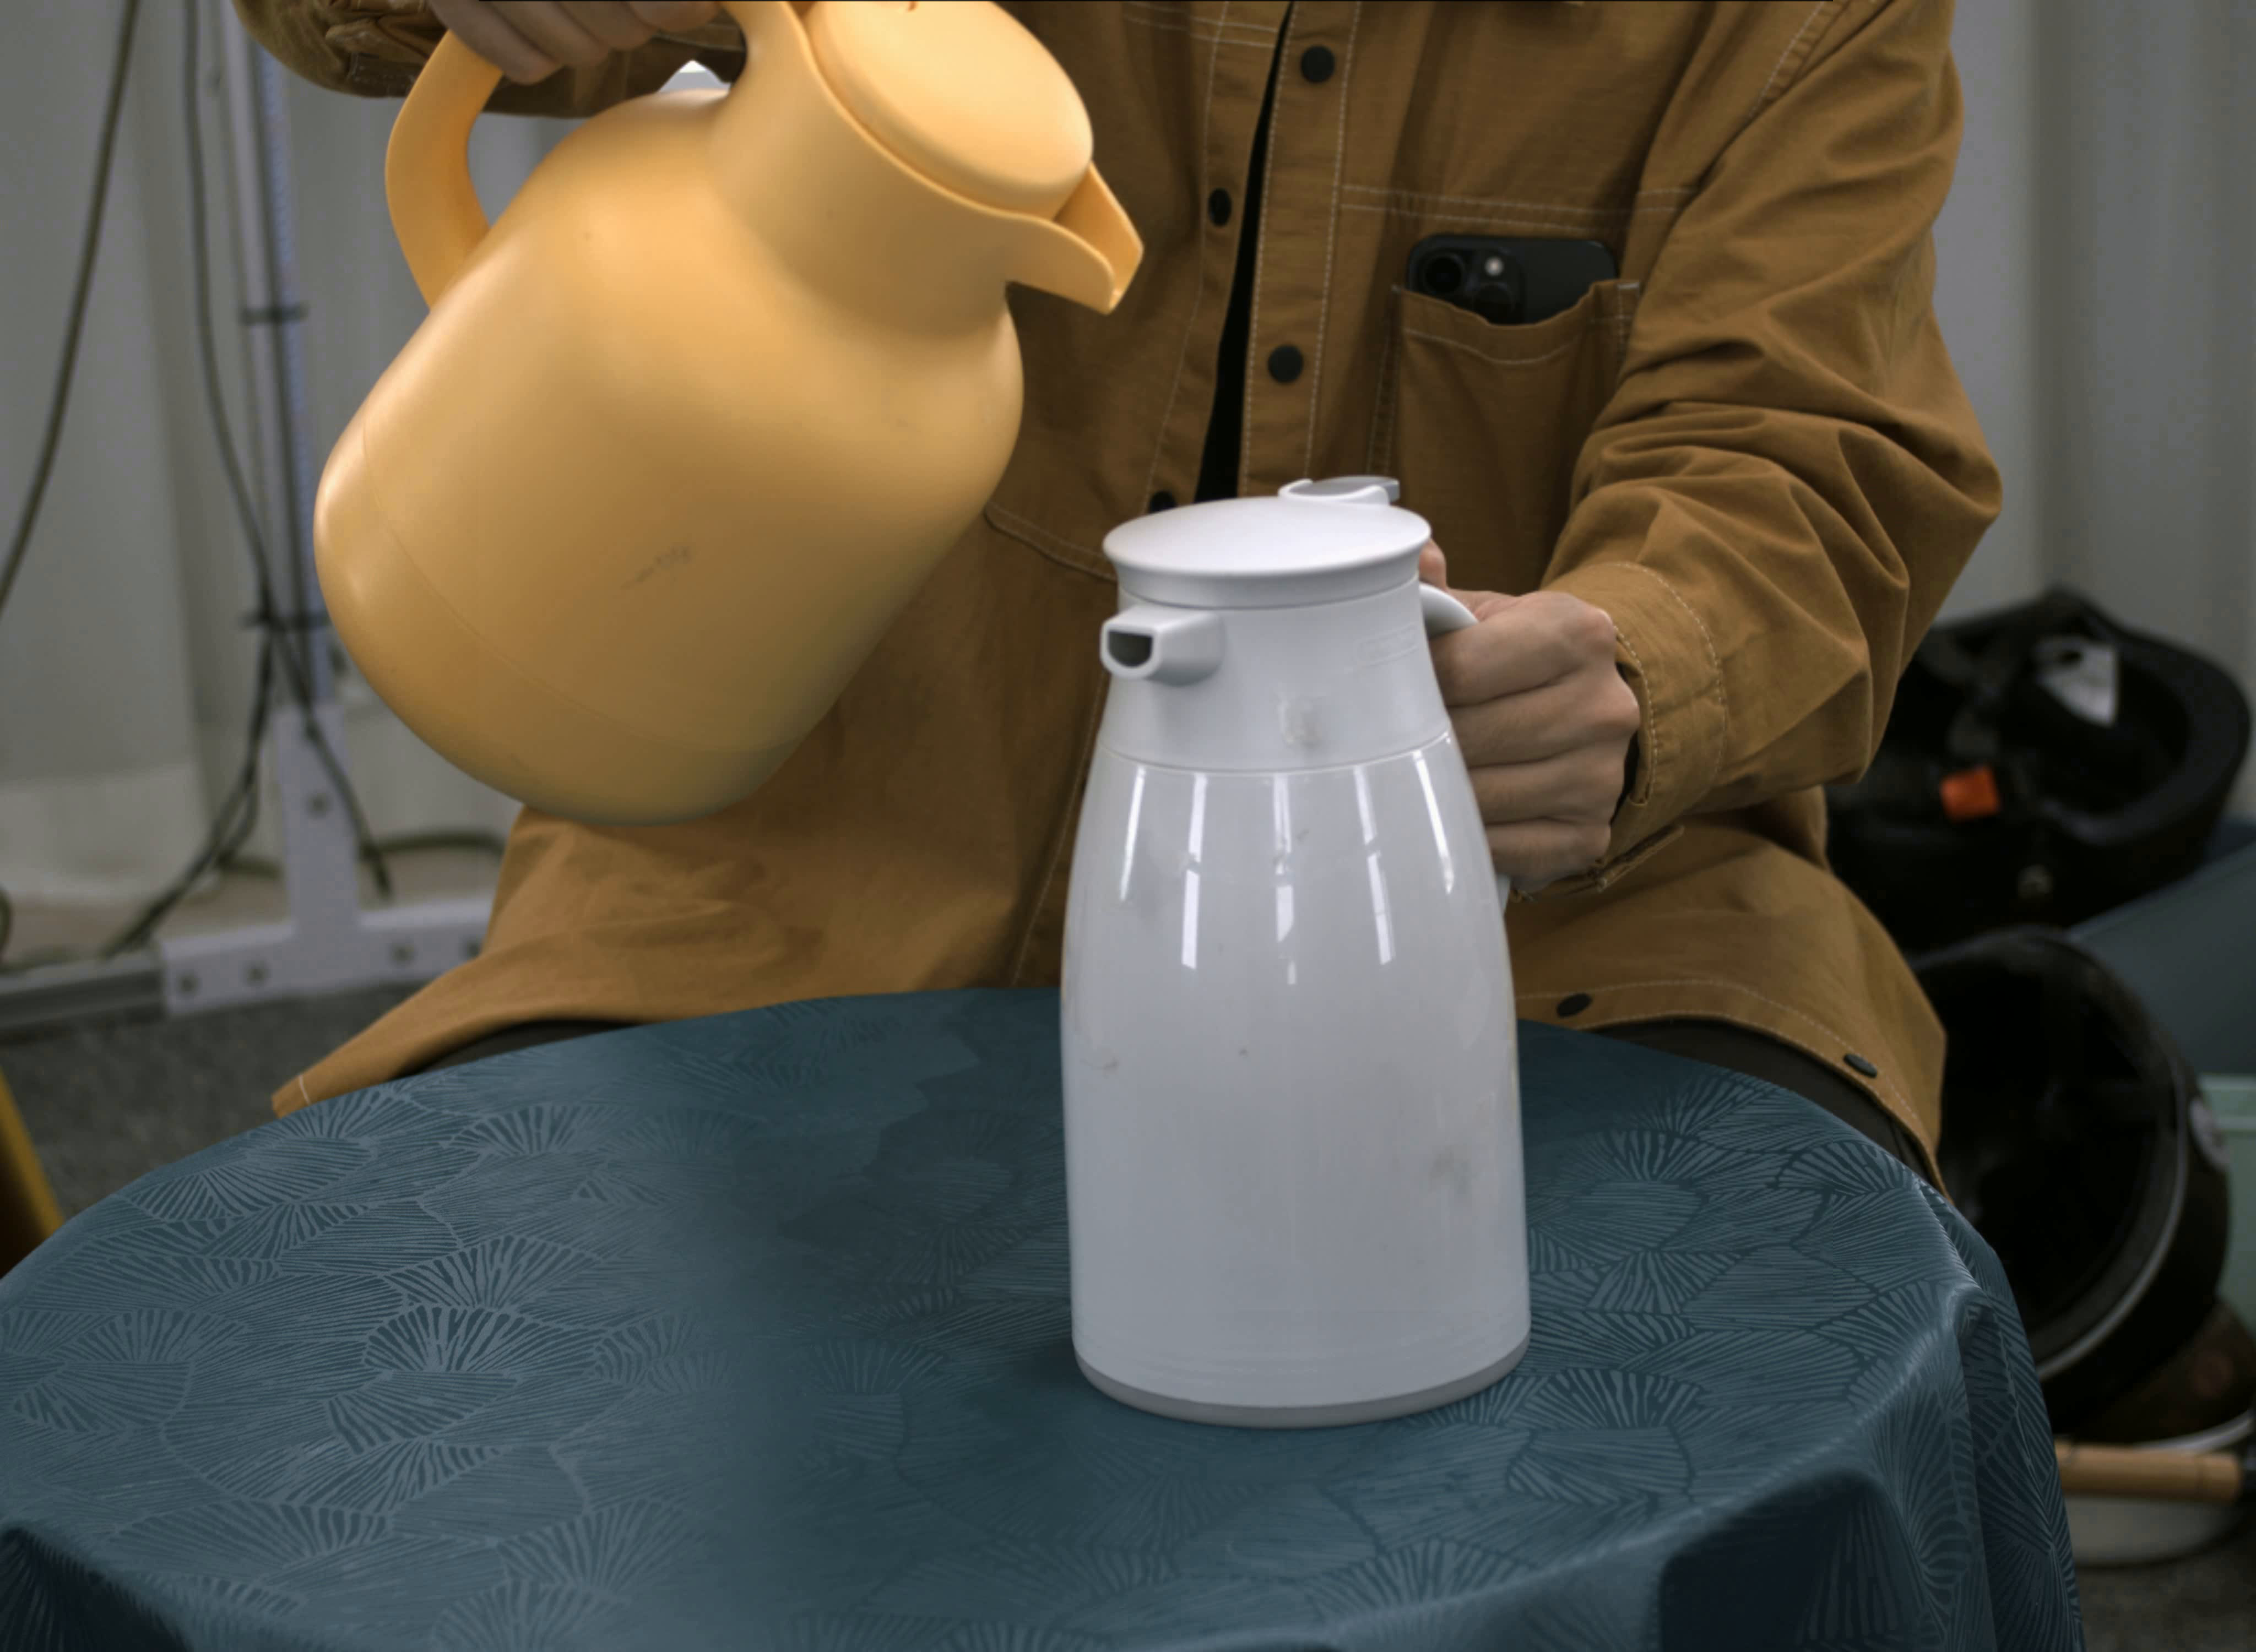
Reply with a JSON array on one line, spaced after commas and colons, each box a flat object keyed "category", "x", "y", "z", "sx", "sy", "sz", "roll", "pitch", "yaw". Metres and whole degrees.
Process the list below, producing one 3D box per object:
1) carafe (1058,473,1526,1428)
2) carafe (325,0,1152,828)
[{"category": "carafe", "x": 0.055, "y": 0.026, "z": 1.558, "sx": 0.133, "sy": 0.248, "sz": 0.167, "roll": 8, "pitch": 17, "yaw": 38}, {"category": "carafe", "x": -0.125, "y": -0.143, "z": 1.577, "sx": 0.202, "sy": 0.258, "sz": 0.164, "roll": 41, "pitch": 32, "yaw": 1}]
